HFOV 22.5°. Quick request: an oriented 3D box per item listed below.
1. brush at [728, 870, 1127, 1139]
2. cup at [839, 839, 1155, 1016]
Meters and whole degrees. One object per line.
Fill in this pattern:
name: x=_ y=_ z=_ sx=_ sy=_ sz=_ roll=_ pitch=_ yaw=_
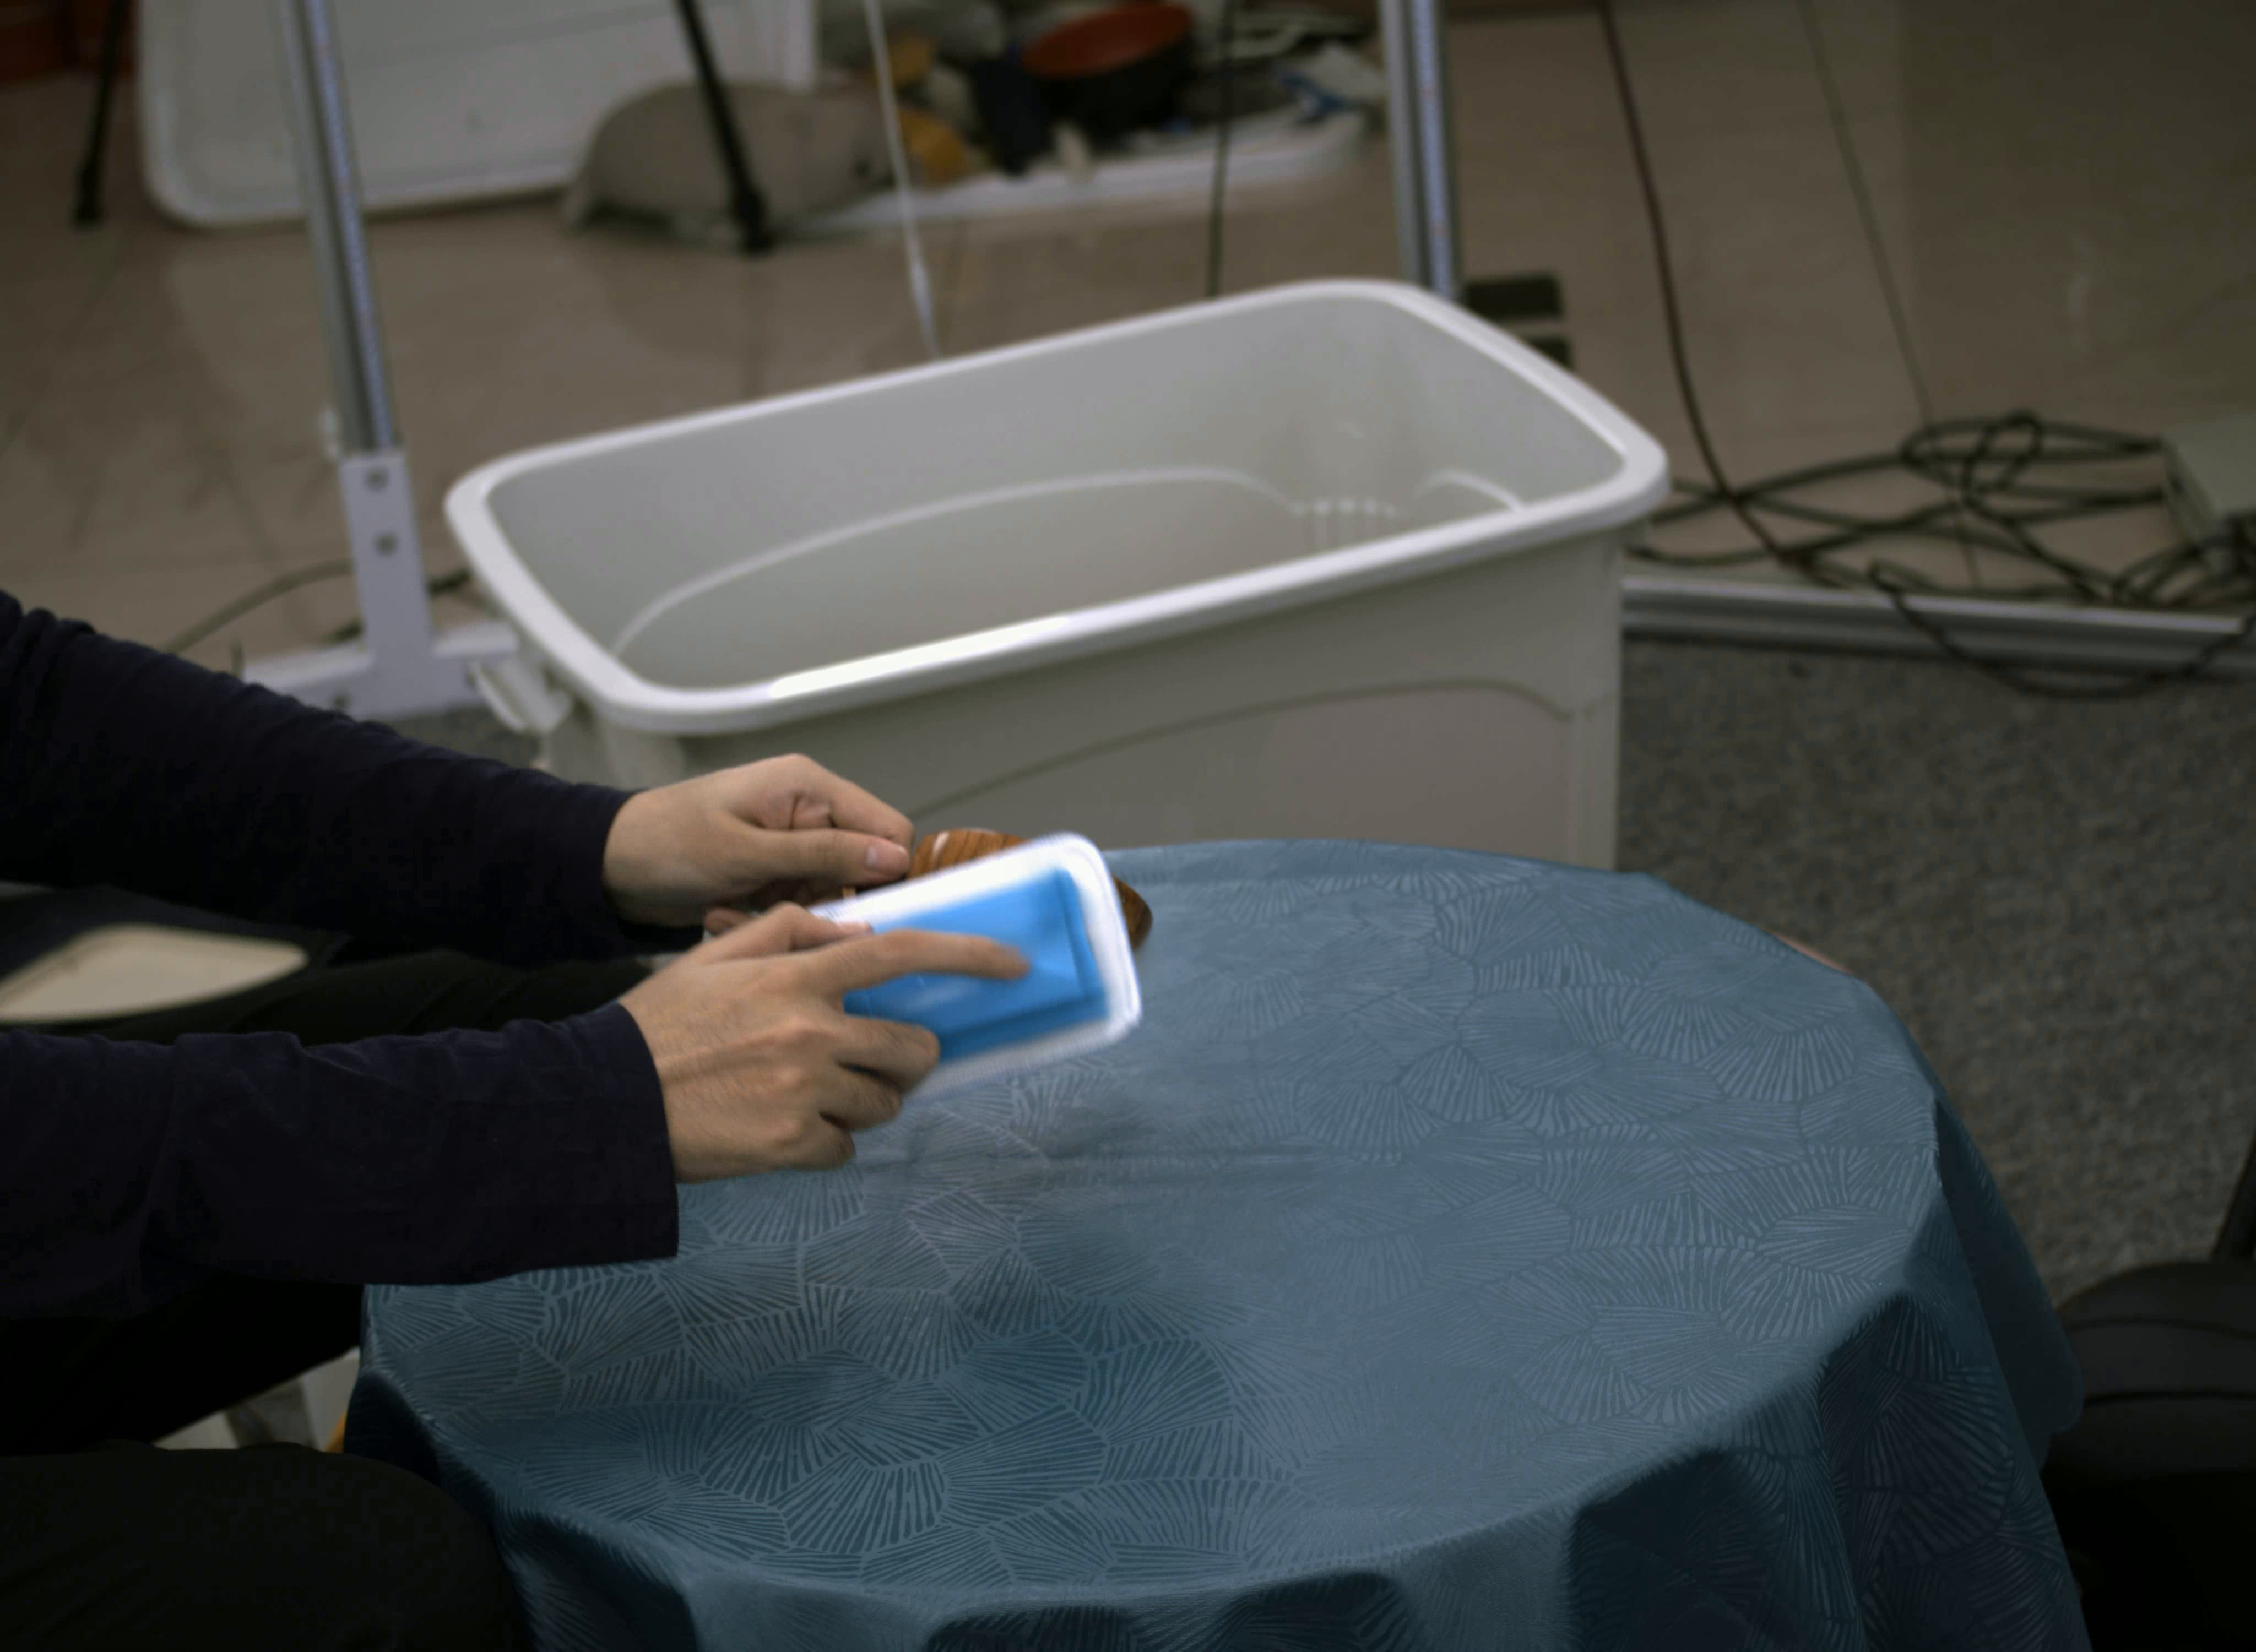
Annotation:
brush: x=-0.075 y=0.060 z=2.061 sx=0.144 sy=0.083 sz=0.056 roll=-12 pitch=-13 yaw=2
cup: x=-0.055 y=0.049 z=2.159 sx=0.119 sy=0.097 sz=0.067 roll=13 pitch=74 yaw=6
